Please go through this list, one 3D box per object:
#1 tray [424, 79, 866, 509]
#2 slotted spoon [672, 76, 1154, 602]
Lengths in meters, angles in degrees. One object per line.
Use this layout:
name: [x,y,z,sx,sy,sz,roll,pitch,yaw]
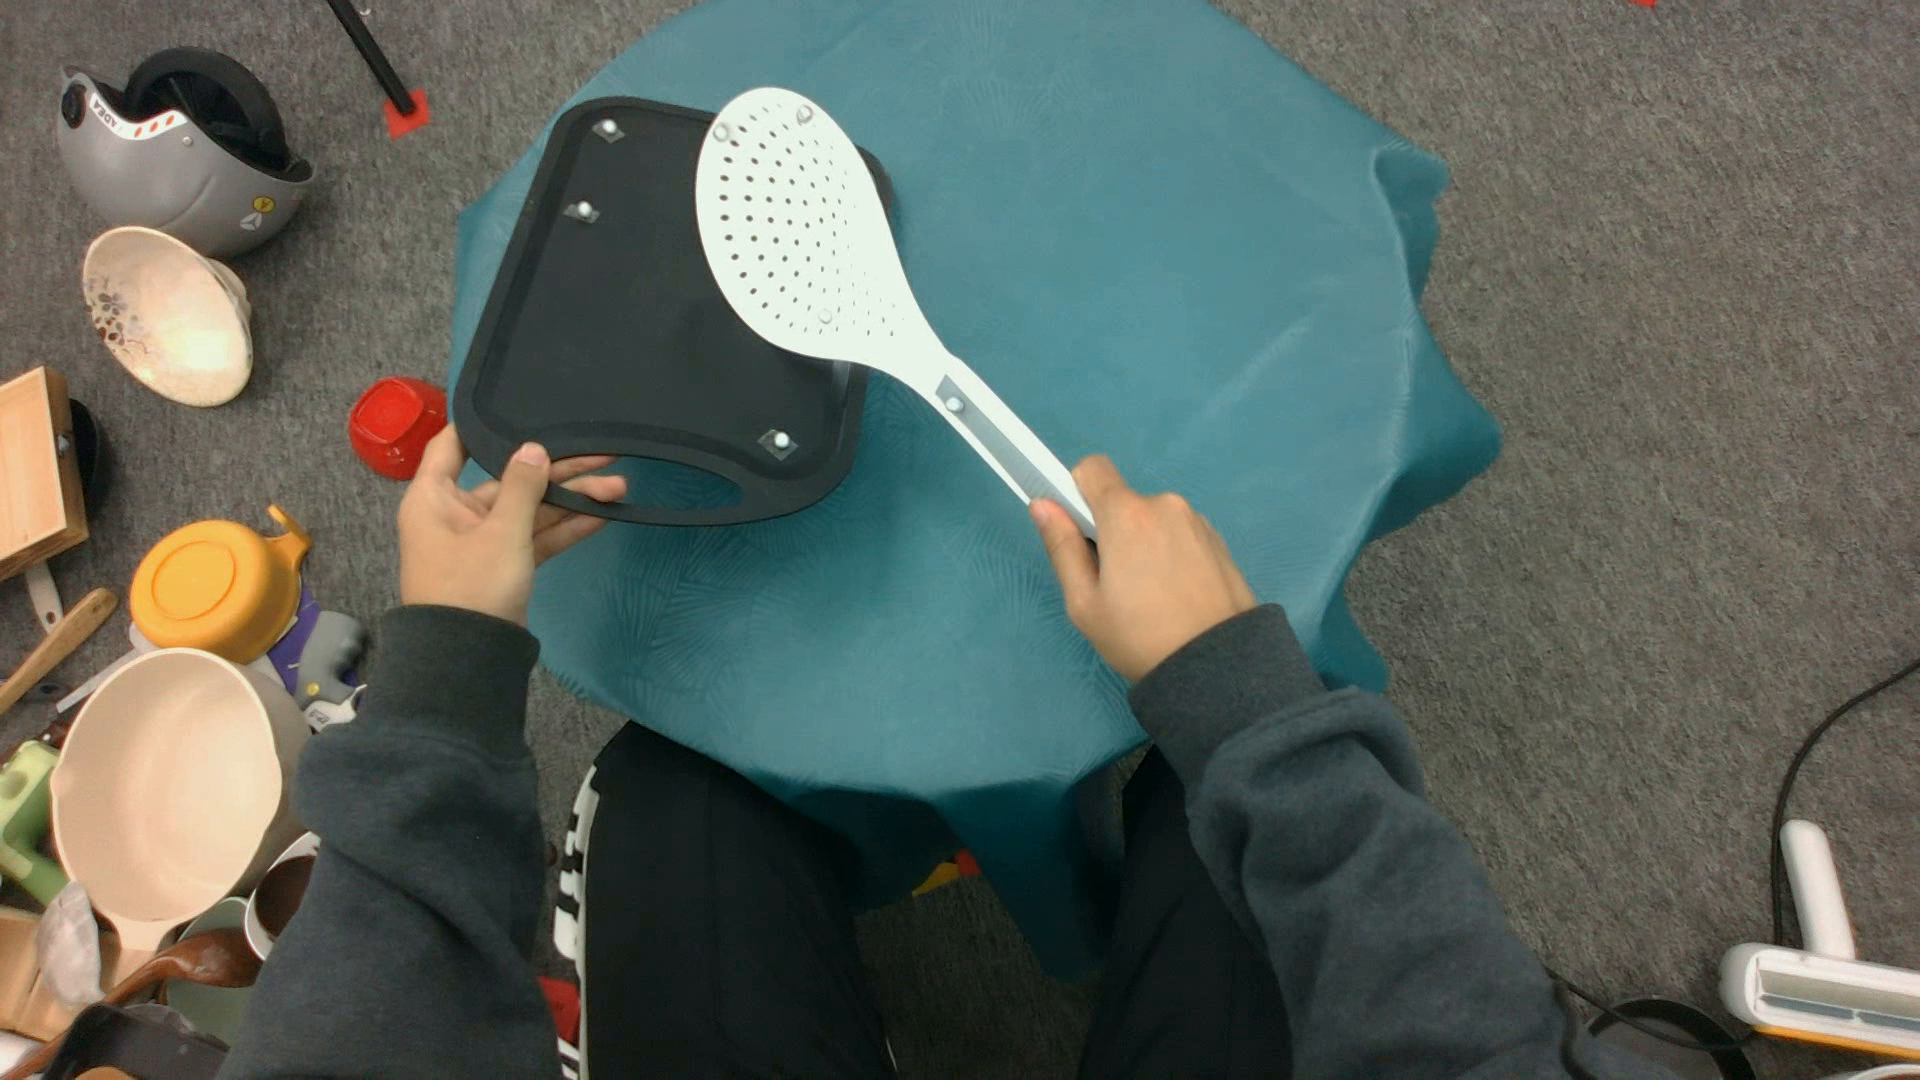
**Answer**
tray: [-0.167,-0.150,0.780,0.211,0.010,0.327,9,53,-8]
slotted spoon: [-0.029,-0.101,0.707,0.046,0.135,0.350,-23,66,-43]
